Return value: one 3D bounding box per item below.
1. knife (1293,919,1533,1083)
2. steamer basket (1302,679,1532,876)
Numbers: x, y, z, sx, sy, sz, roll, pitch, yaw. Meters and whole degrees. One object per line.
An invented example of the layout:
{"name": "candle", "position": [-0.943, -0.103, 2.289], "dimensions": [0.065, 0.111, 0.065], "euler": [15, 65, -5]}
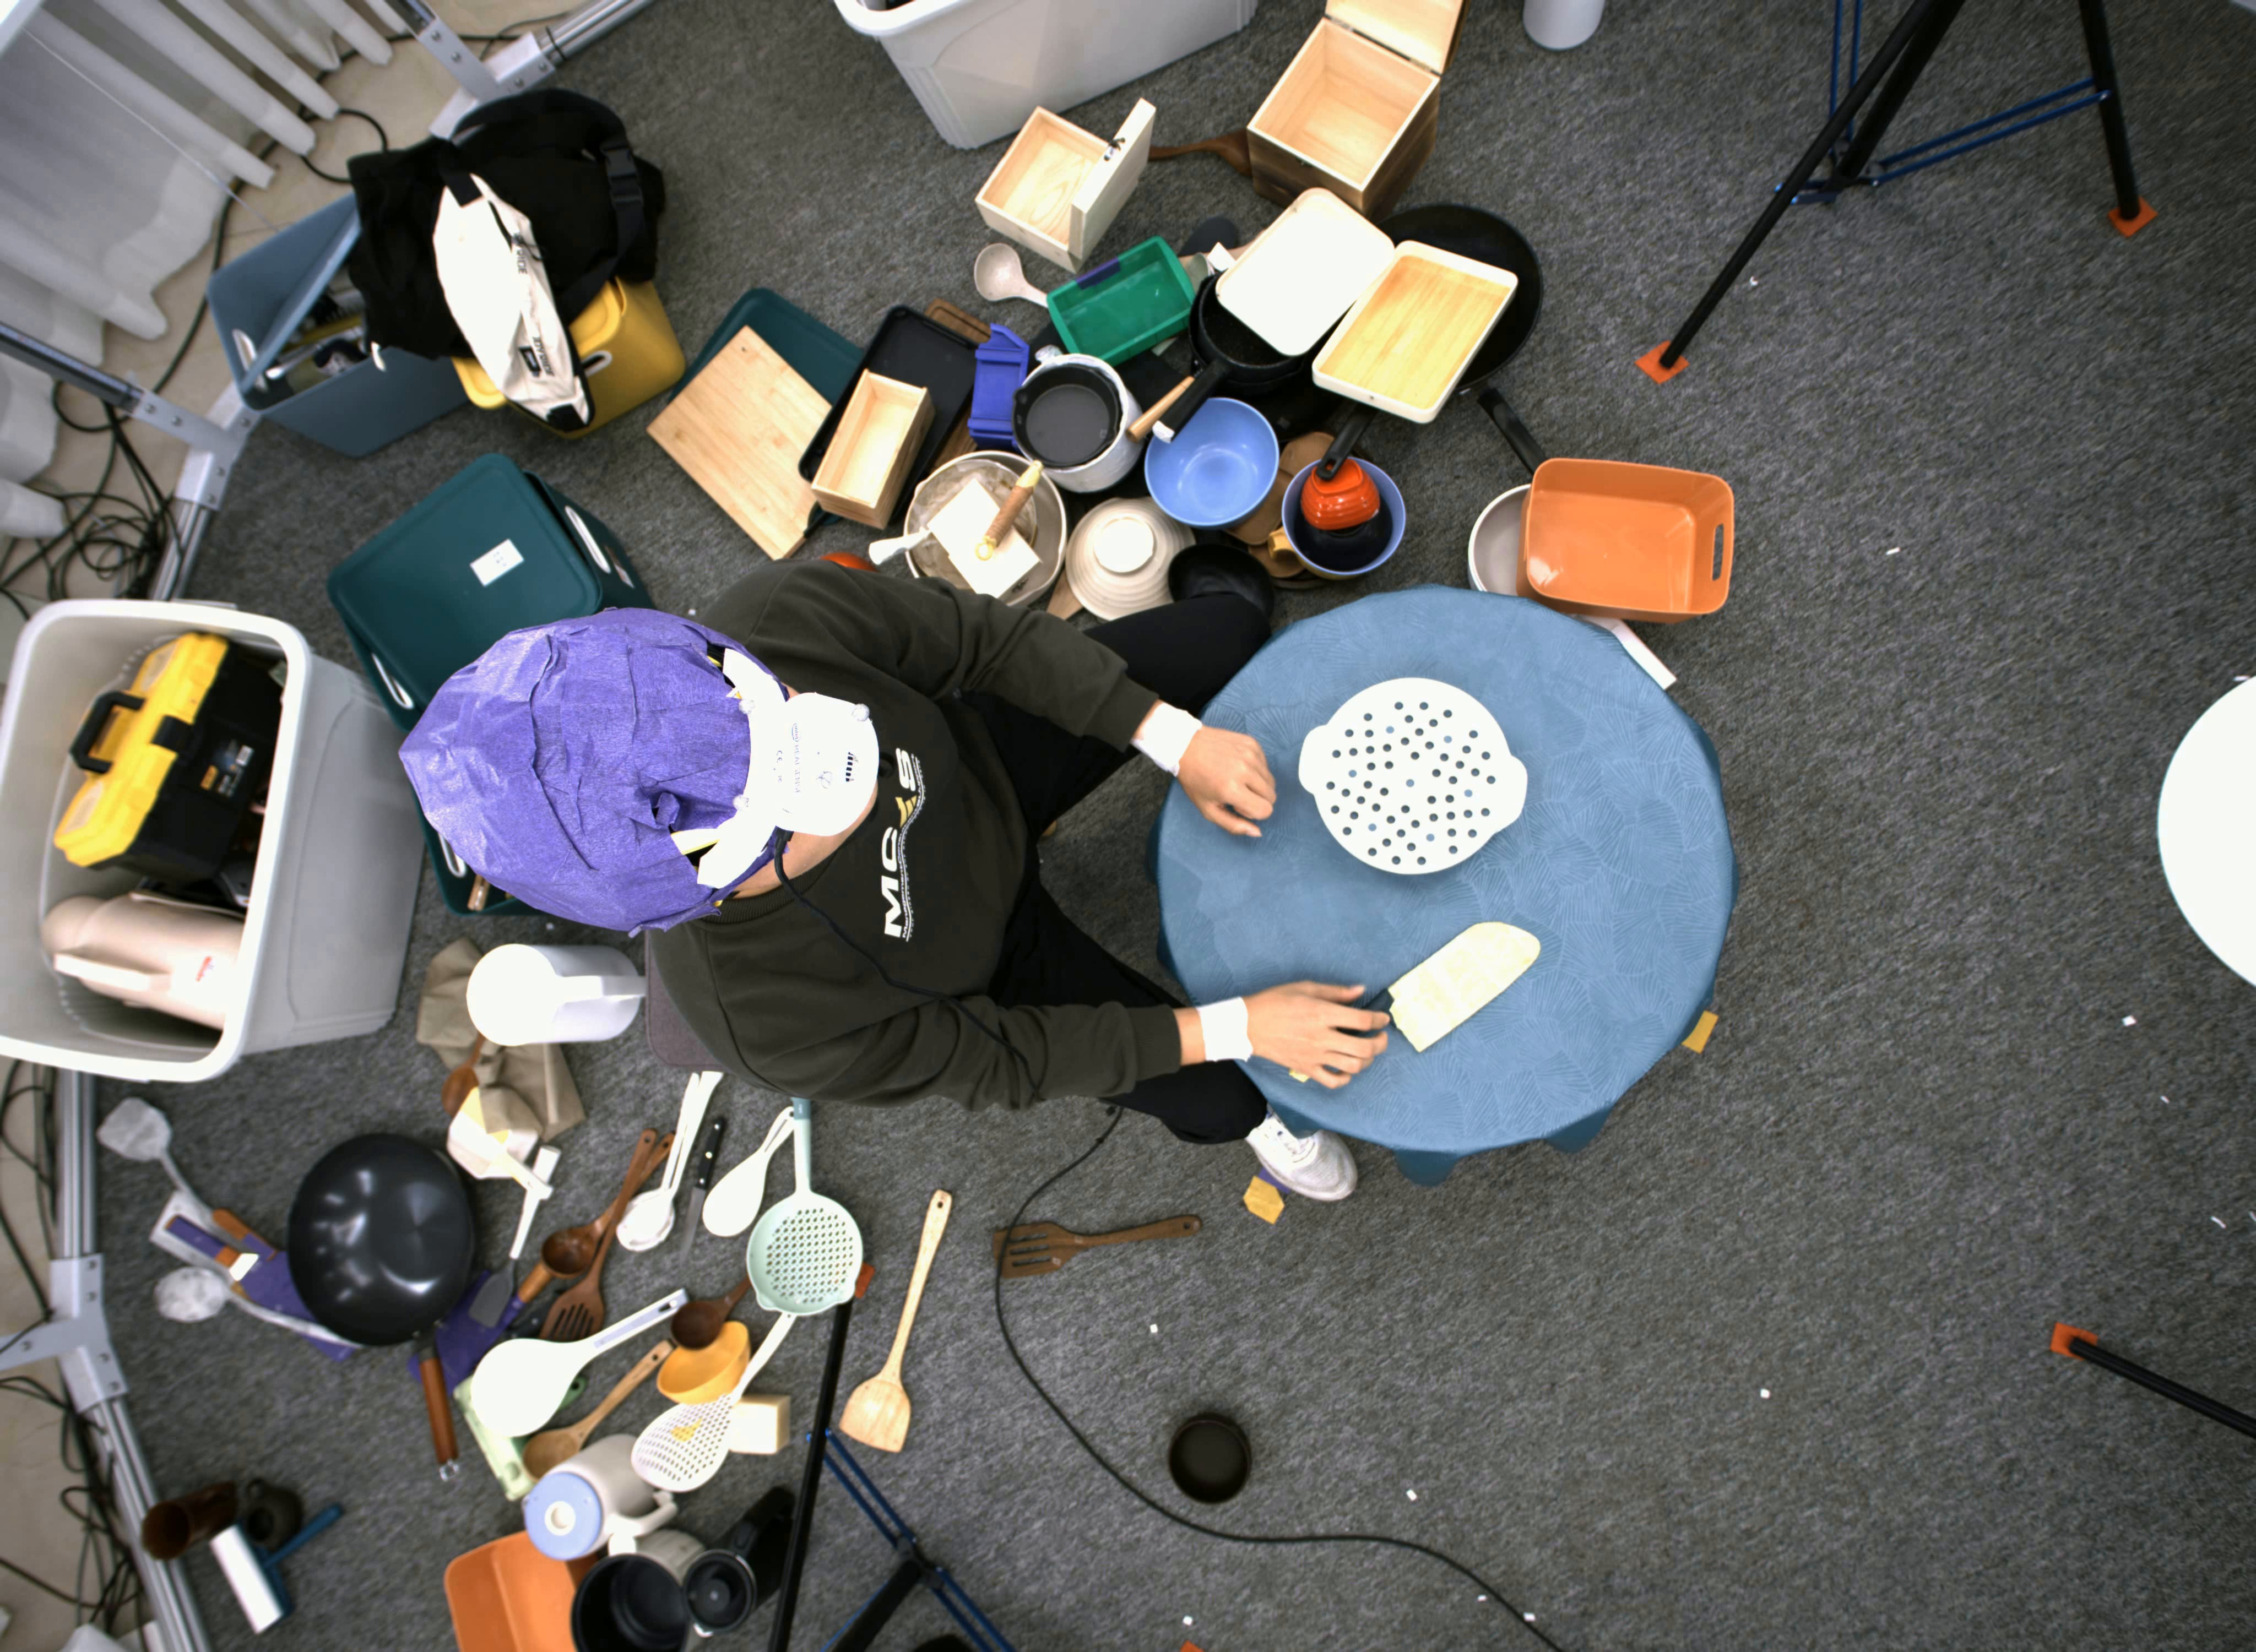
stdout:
{"name": "knife", "position": [0.300, 0.189, 1.440], "dimensions": [0.291, 0.027, 0.080], "euler": [-35, 78, 6]}
{"name": "steamer basket", "position": [0.298, -0.049, 1.427], "dimensions": [0.231, 0.069, 0.201], "euler": [11, 88, 12]}
